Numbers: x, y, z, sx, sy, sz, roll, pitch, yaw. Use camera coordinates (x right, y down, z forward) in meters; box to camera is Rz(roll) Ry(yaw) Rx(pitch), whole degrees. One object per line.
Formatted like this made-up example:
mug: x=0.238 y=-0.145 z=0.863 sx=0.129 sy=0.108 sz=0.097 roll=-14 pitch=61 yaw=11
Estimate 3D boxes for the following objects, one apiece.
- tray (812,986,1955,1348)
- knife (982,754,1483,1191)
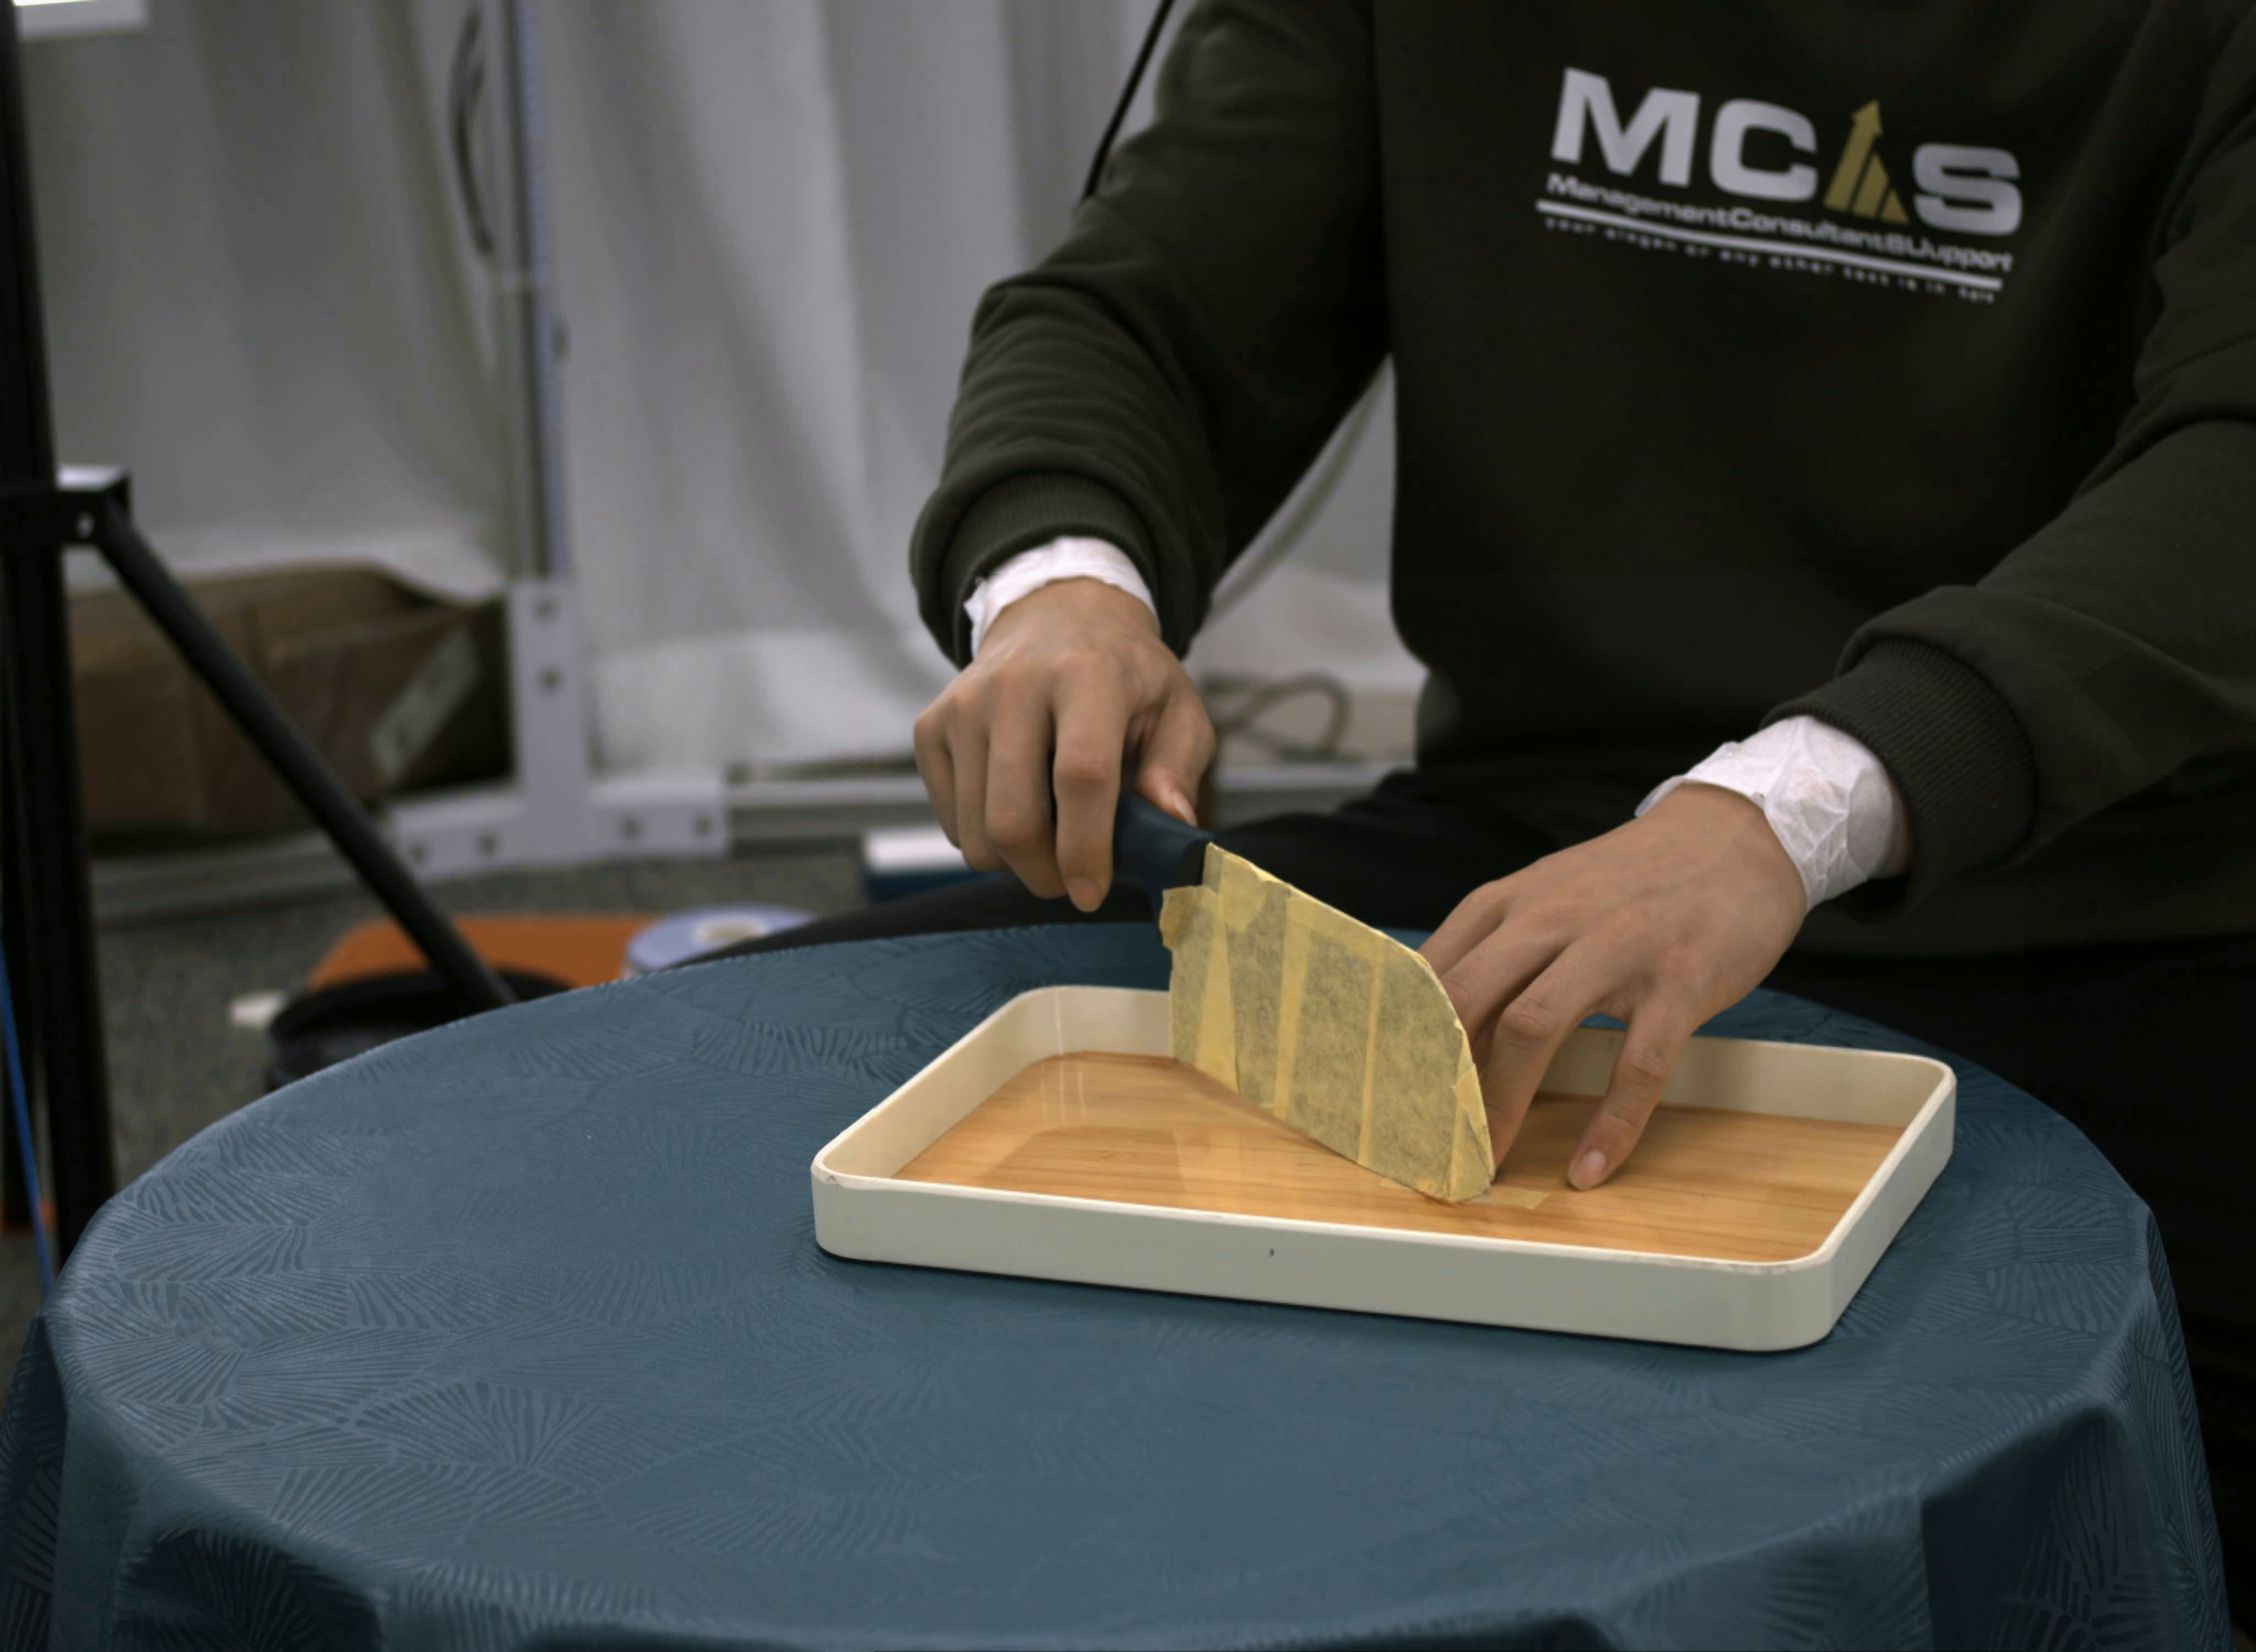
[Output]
tray: x=0.077 y=0.096 z=1.543 sx=0.304 sy=0.027 sz=0.189 roll=5 pitch=16 yaw=22
knife: x=0.029 y=0.040 z=1.614 sx=0.026 sy=0.081 sz=0.296 roll=-2 pitch=20 yaw=-30
